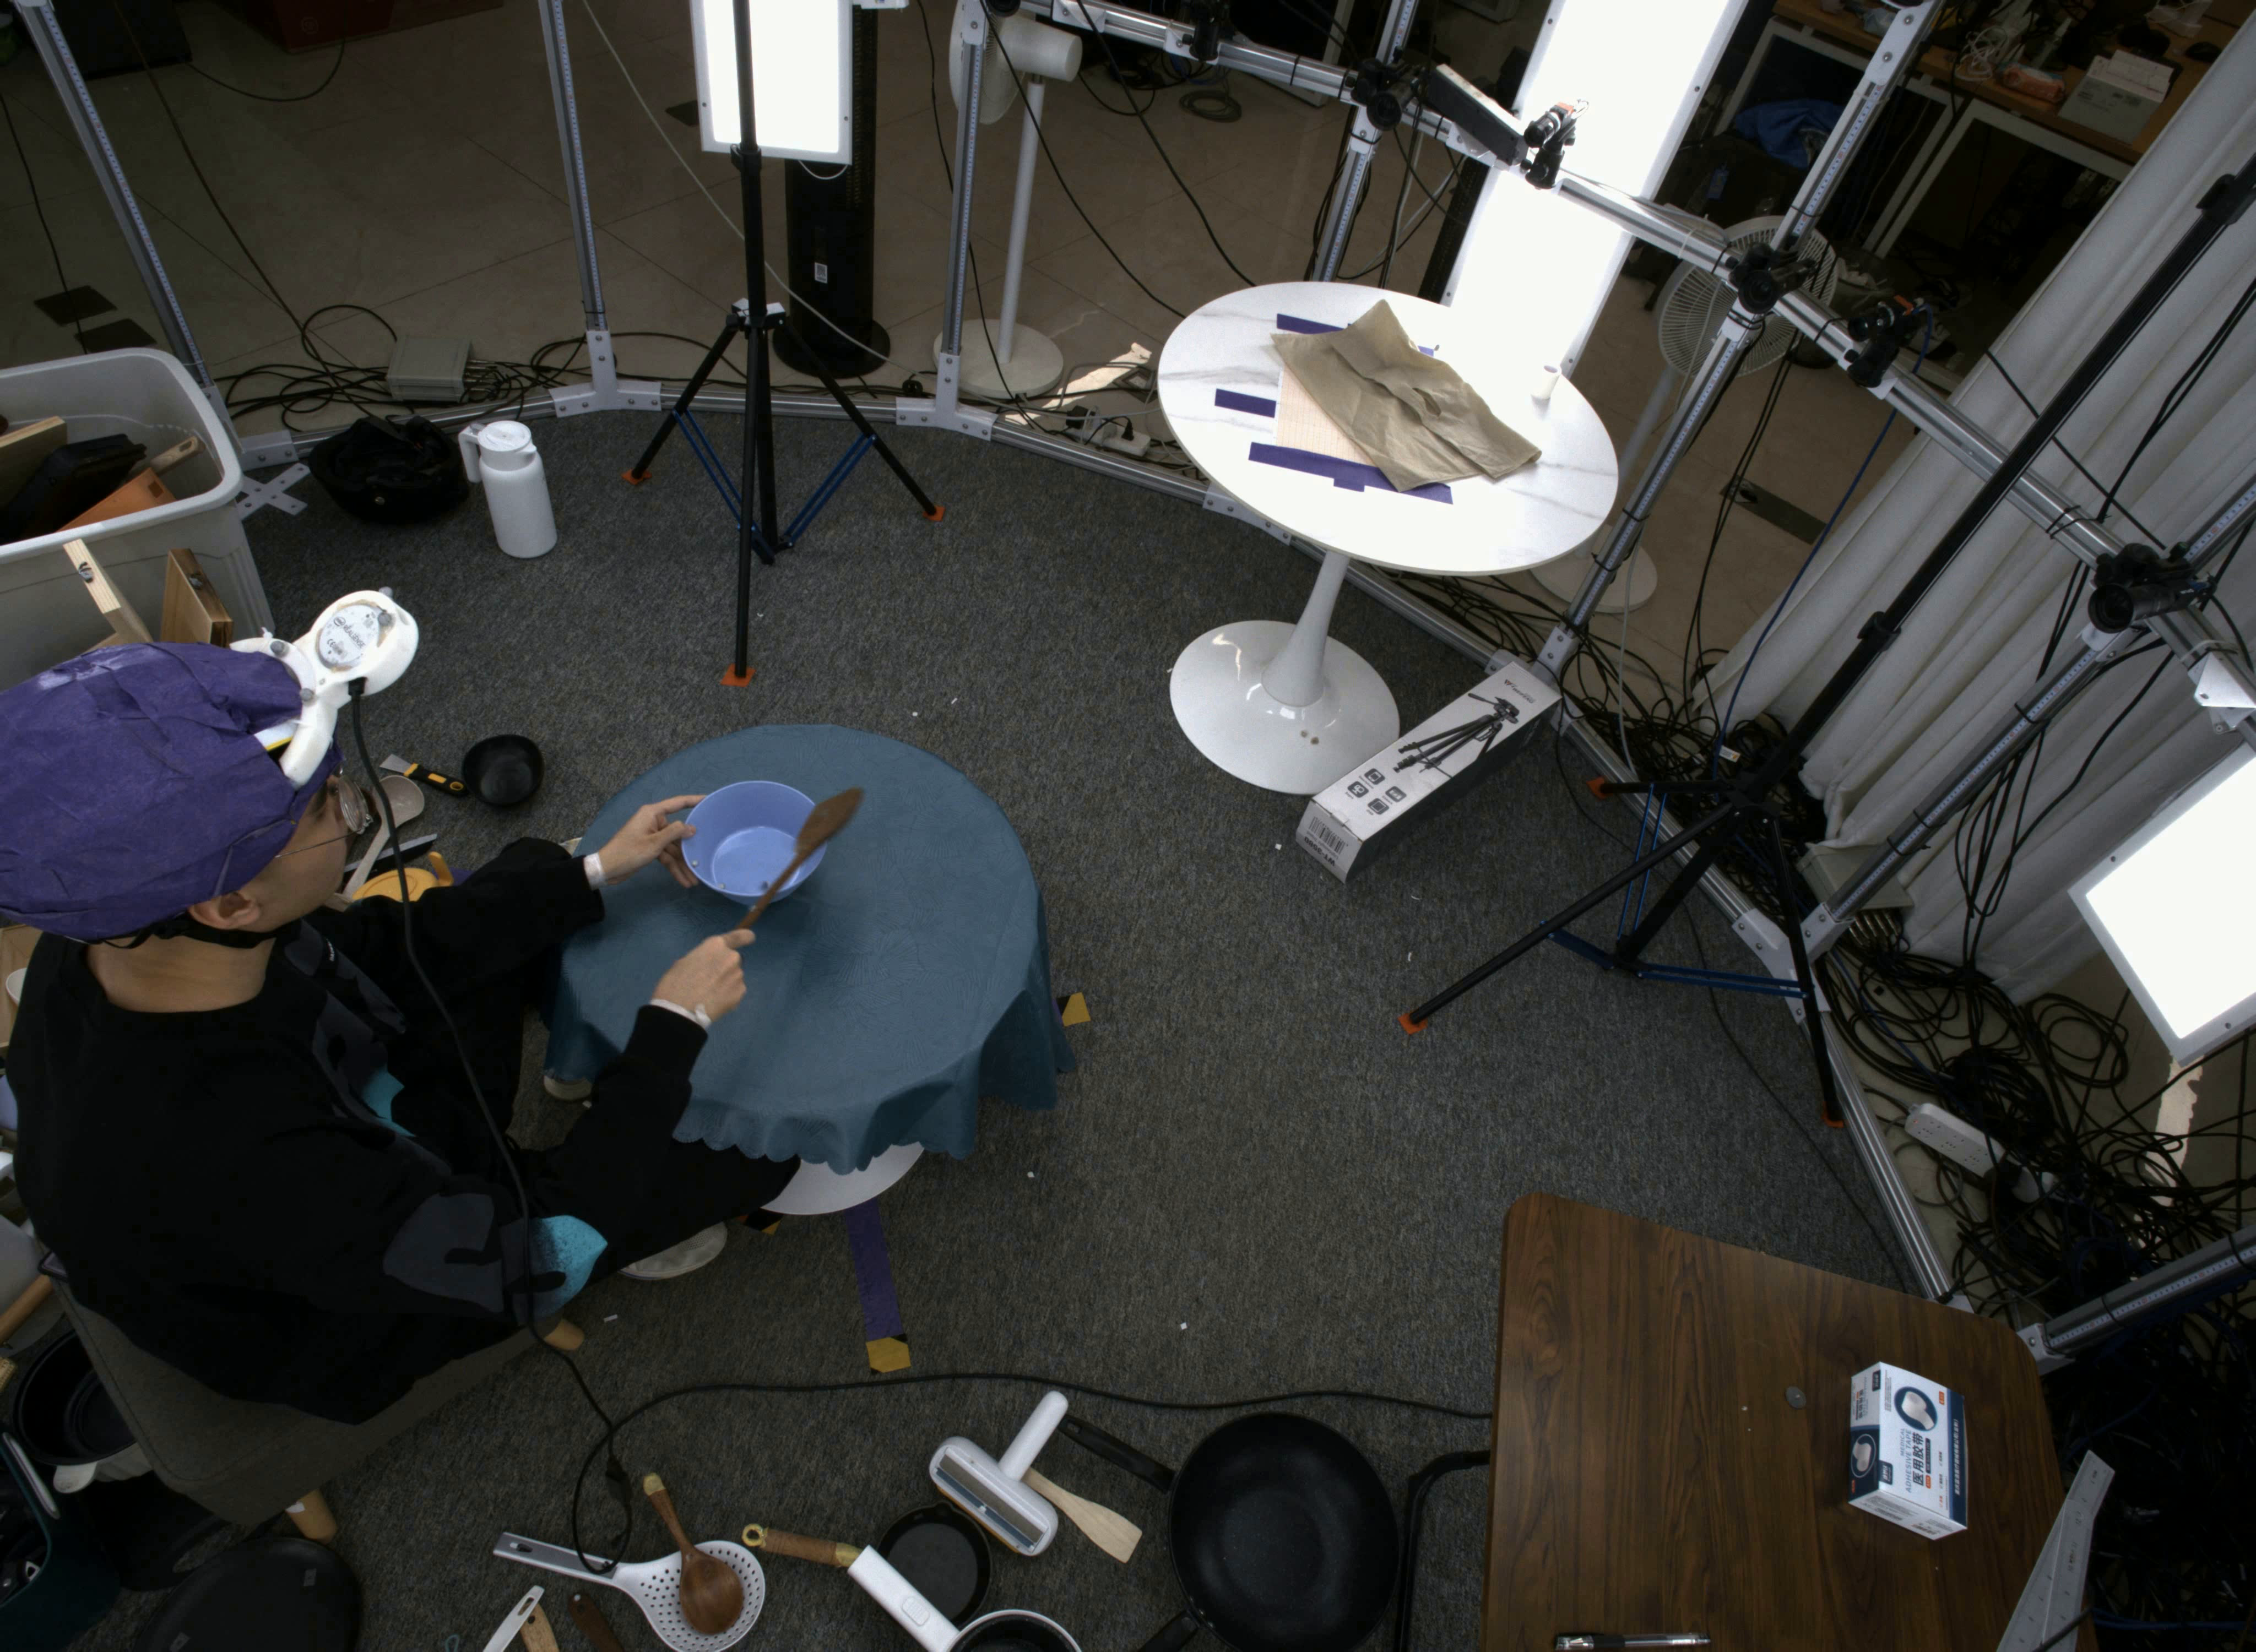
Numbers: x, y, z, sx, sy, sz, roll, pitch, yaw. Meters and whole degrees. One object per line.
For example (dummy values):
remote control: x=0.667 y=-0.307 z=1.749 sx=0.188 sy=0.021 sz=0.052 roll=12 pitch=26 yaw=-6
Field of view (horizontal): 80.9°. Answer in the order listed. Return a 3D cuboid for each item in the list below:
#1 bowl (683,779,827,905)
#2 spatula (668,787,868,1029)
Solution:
bowl: x=-0.465 y=0.030 z=1.627 sx=0.175 sy=0.072 sz=0.173 roll=6 pitch=55 yaw=-7
spatula: x=-0.404 y=0.080 z=1.452 sx=0.016 sy=0.093 sz=0.383 roll=57 pitch=40 yaw=-26
